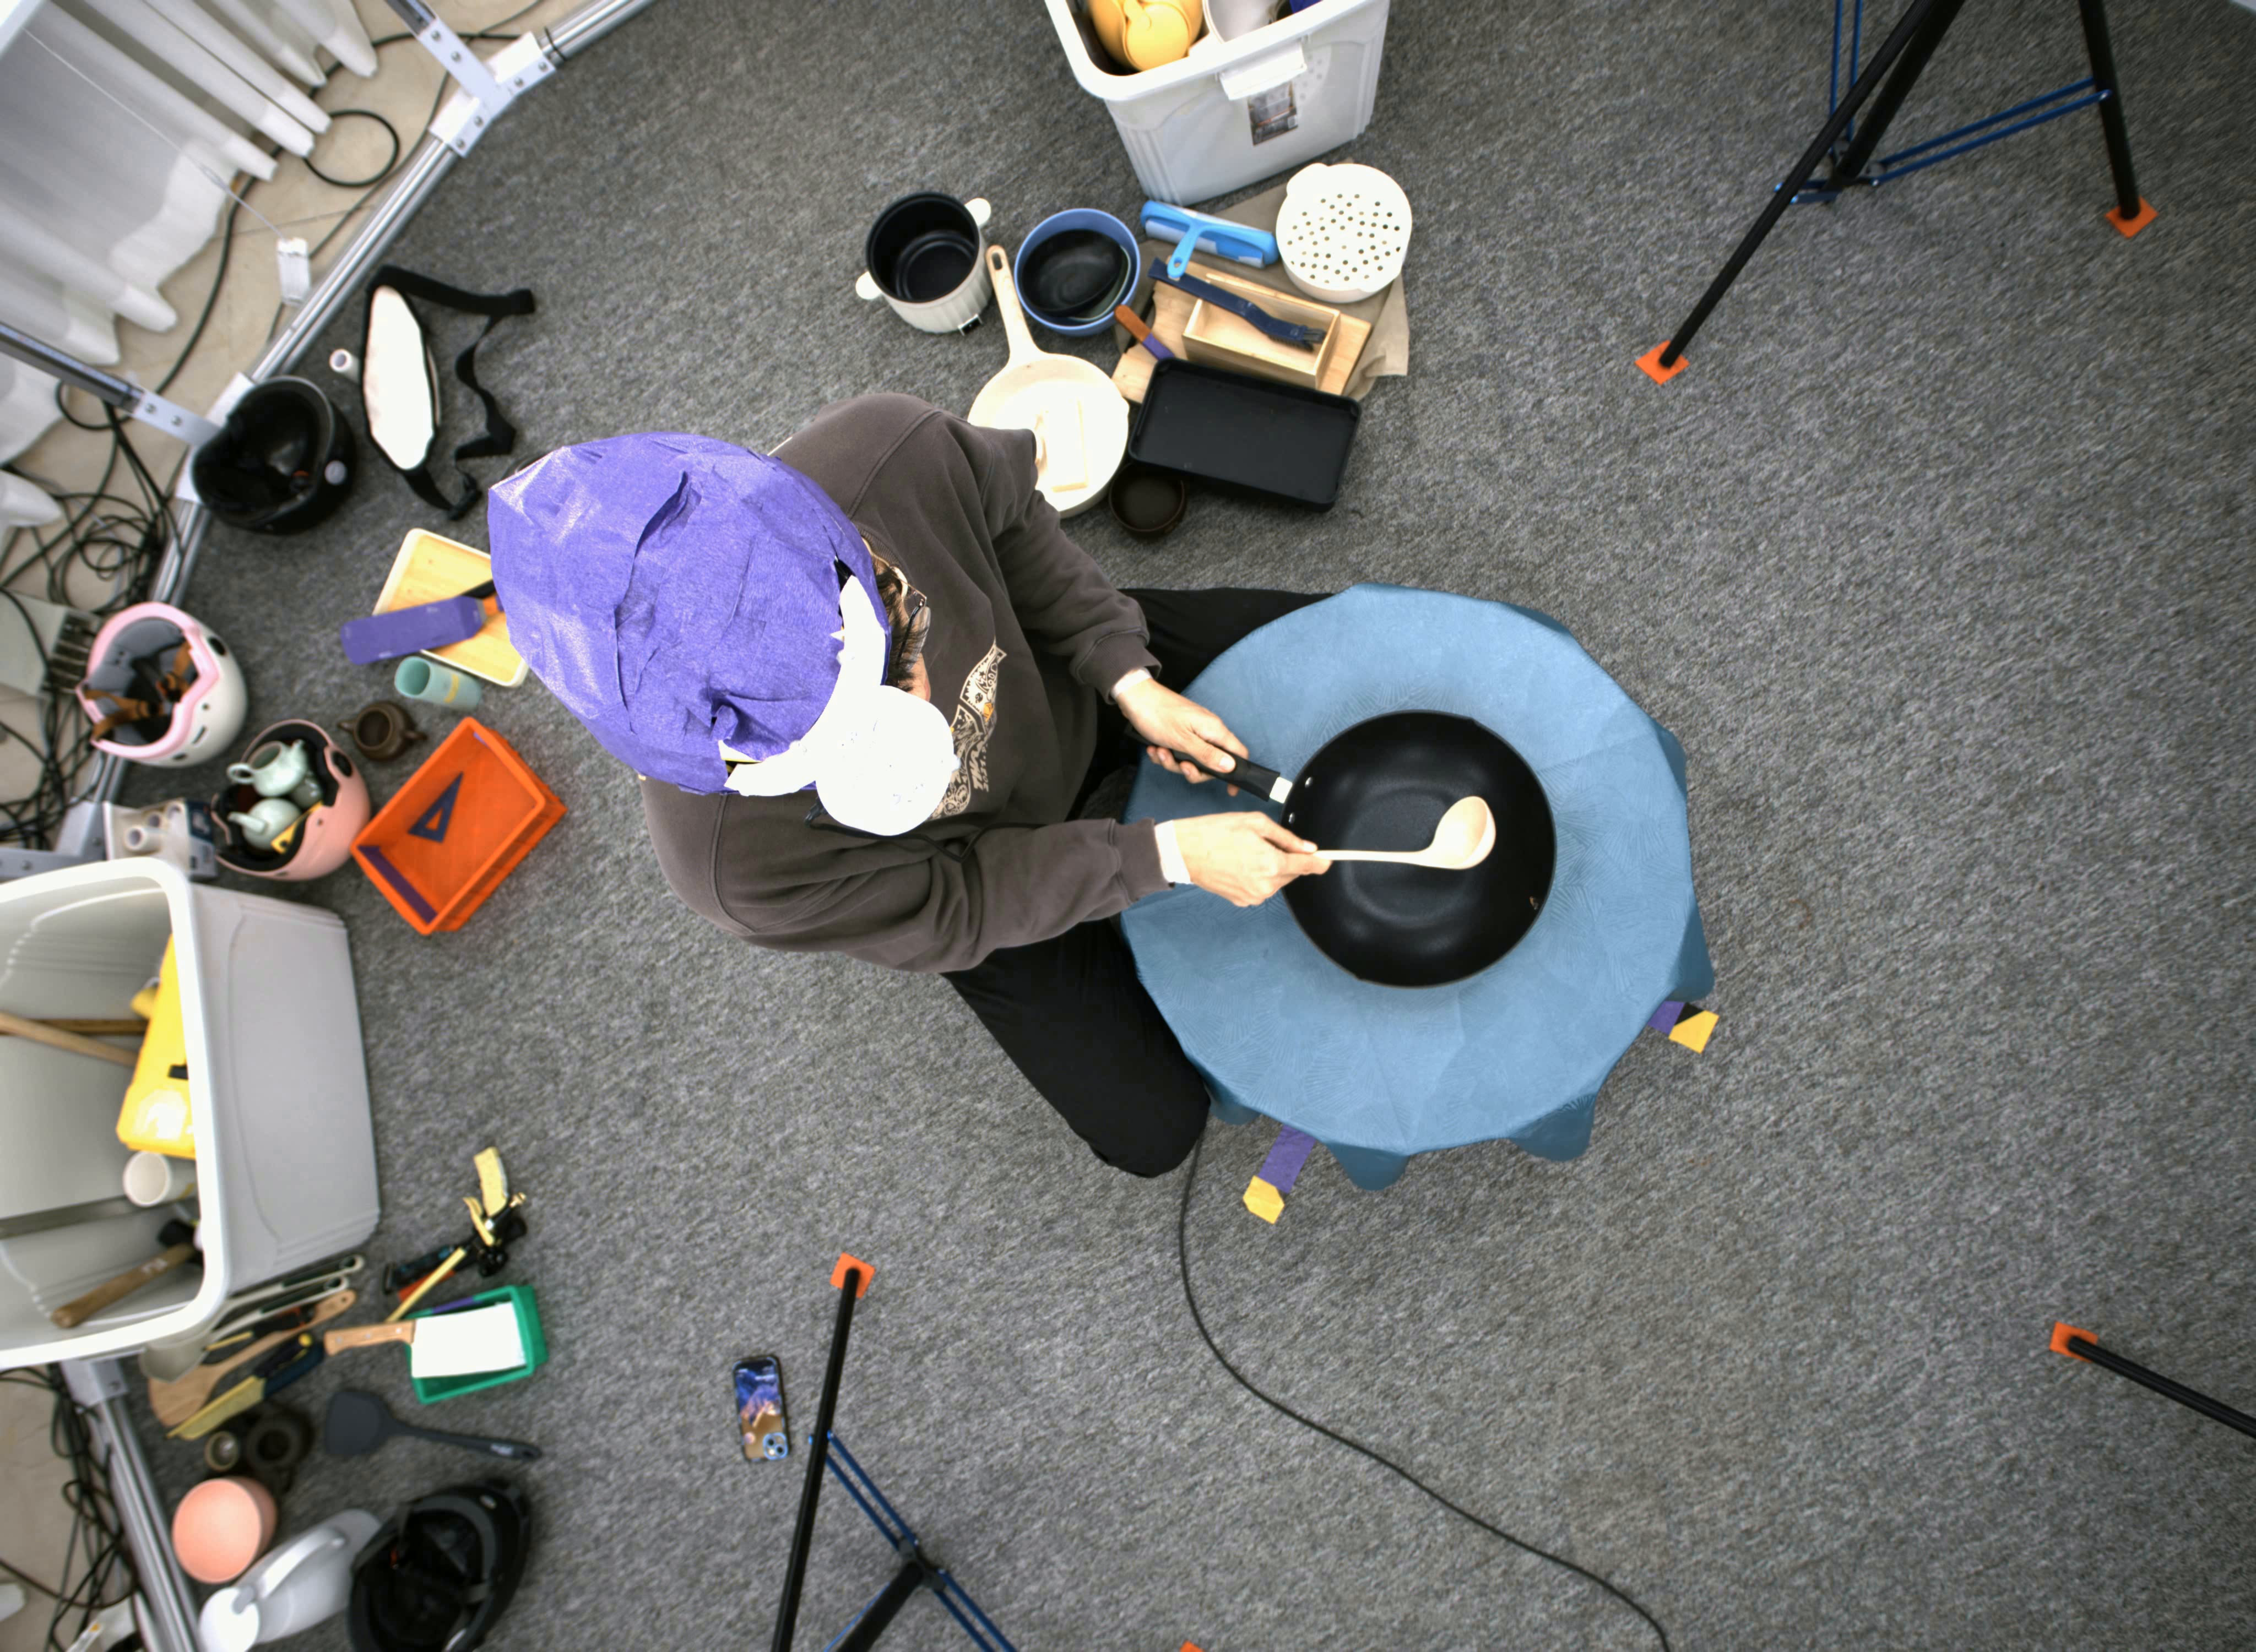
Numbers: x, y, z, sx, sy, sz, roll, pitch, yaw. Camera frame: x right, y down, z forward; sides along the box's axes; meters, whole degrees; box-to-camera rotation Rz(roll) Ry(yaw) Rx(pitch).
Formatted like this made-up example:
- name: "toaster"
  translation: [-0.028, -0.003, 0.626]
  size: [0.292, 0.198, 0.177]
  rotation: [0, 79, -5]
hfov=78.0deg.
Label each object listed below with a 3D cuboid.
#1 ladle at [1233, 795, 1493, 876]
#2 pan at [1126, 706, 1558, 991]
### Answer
- name: "ladle"
  translation: [0.229, 0.009, 1.332]
  size: [0.254, 0.075, 0.070]
  rotation: [-3, 45, -12]
- name: "pan"
  translation: [0.211, -0.011, 1.431]
  size: [0.463, 0.087, 0.288]
  rotation: [24, 92, 12]
